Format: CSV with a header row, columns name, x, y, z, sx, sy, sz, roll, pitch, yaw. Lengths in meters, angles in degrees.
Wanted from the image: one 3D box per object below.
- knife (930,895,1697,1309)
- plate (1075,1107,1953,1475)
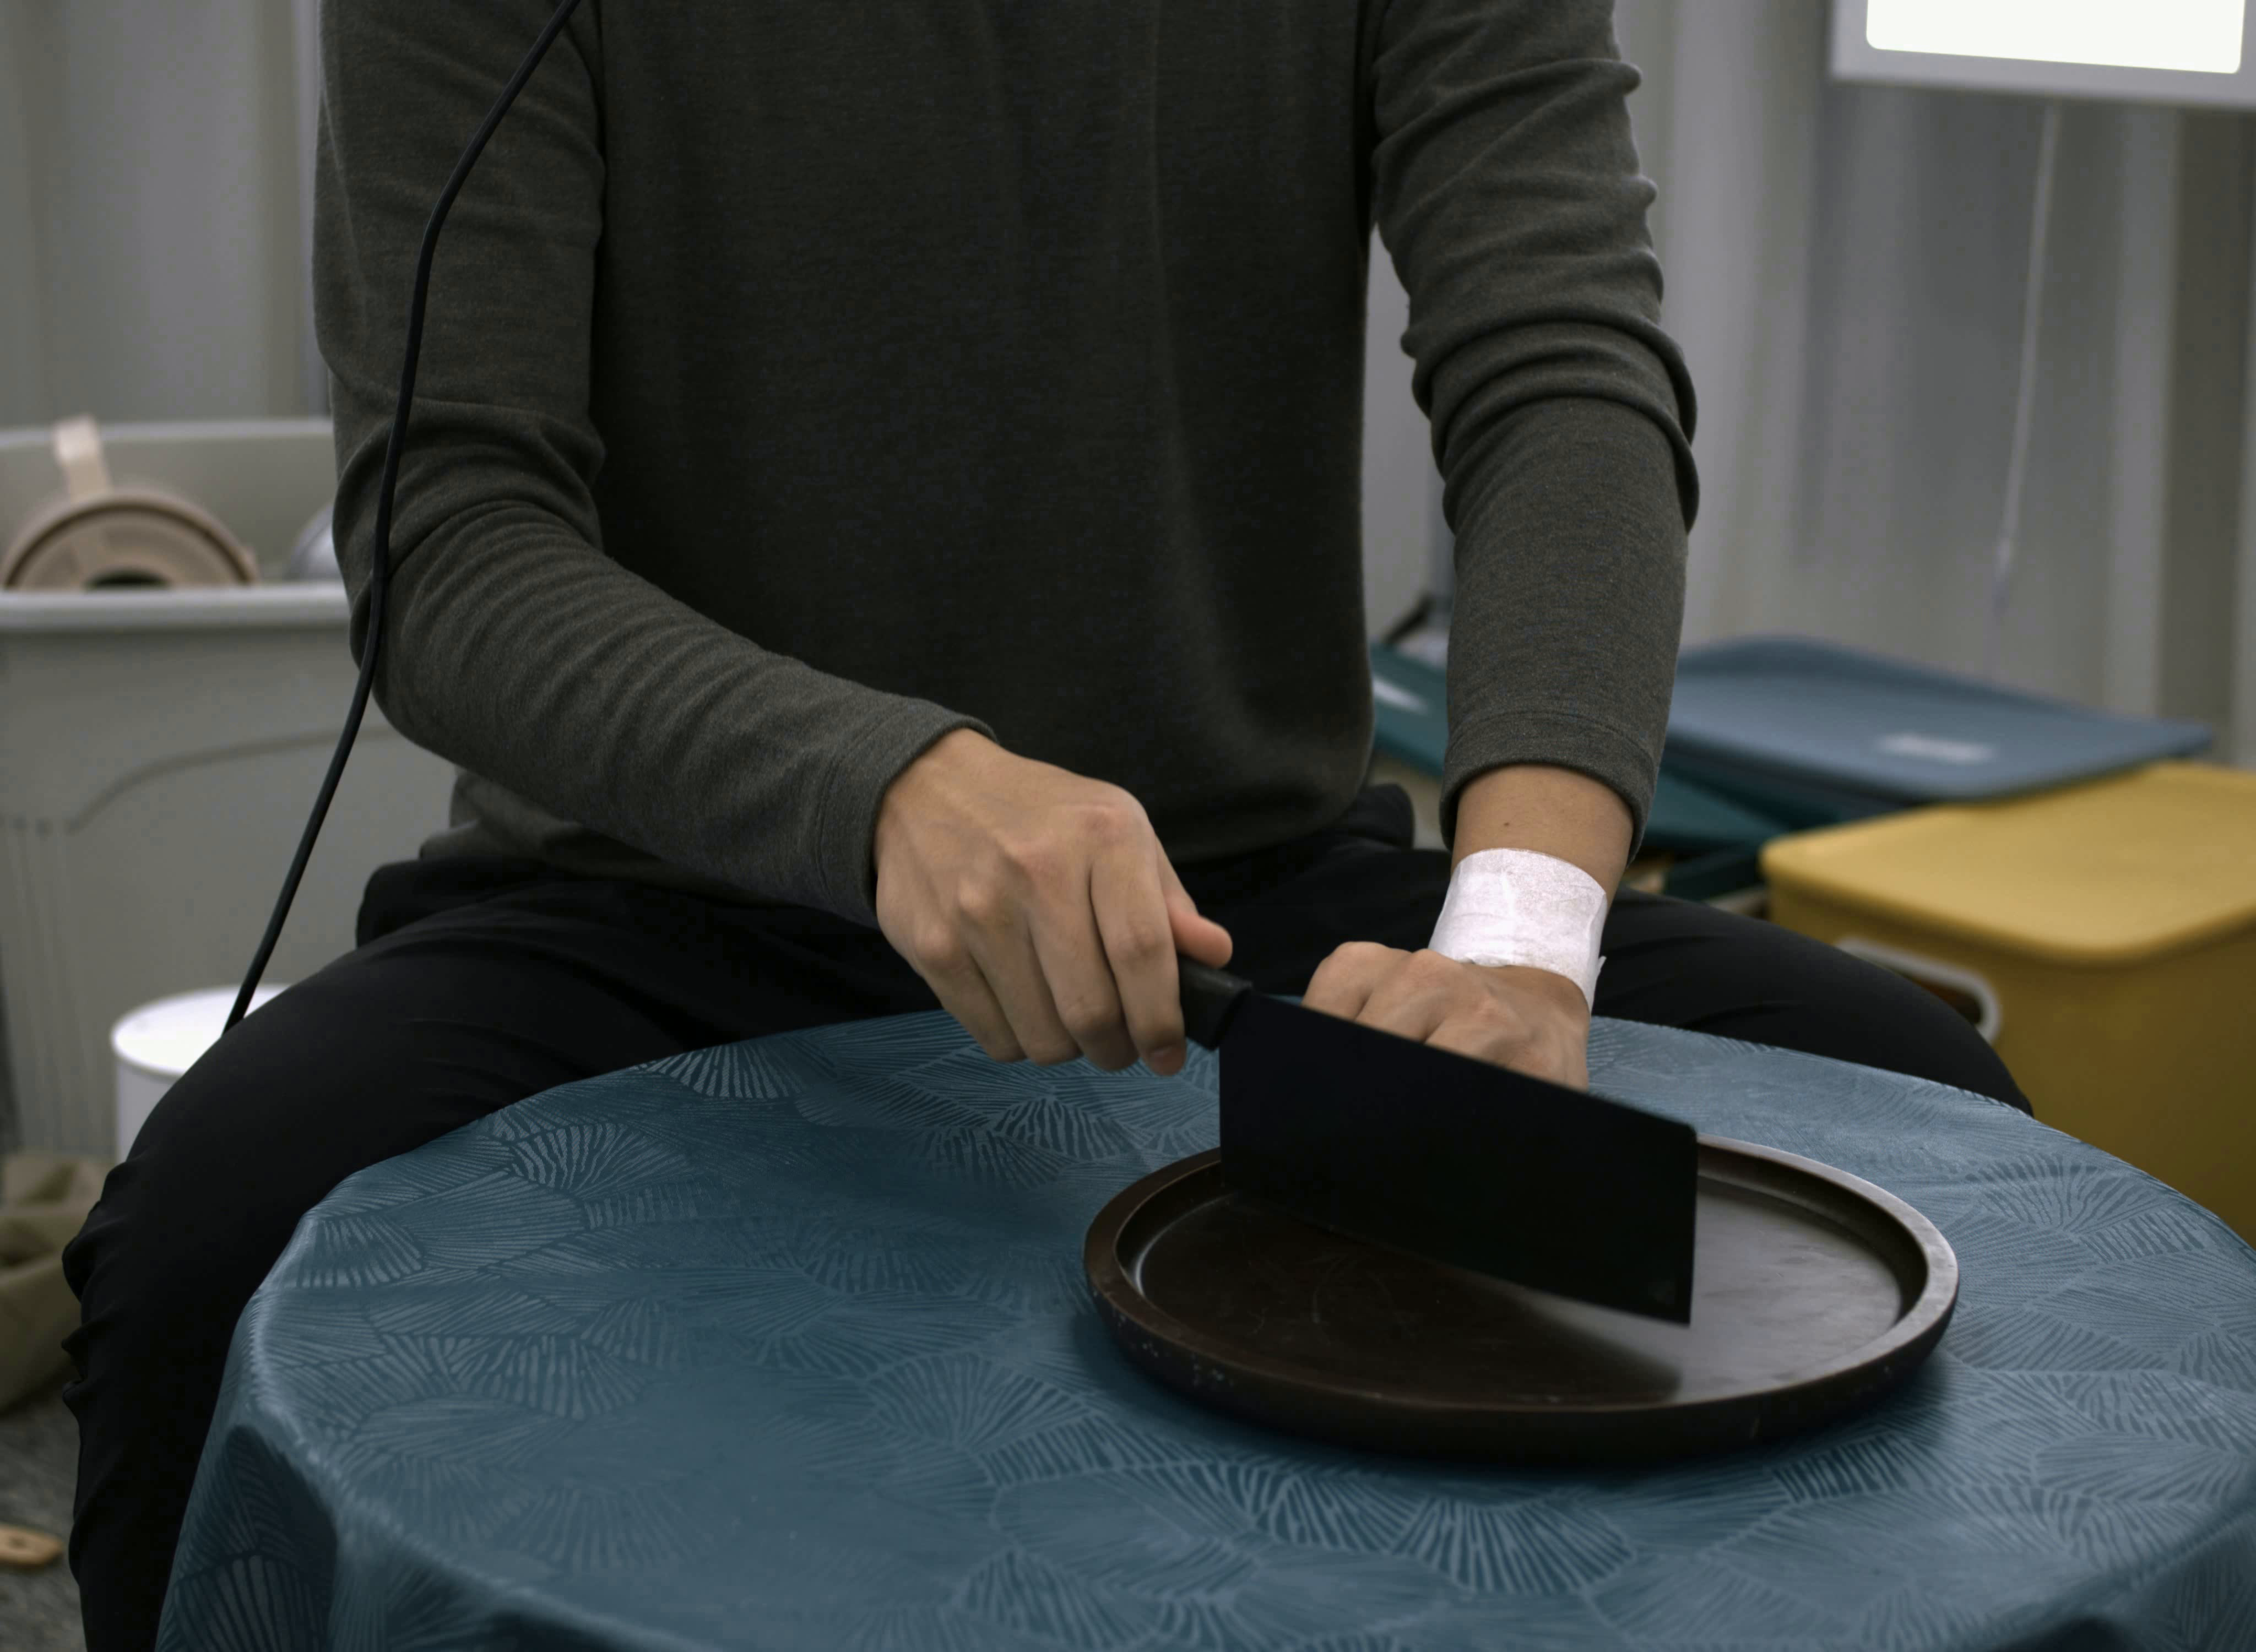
name,x,y,z,sx,sy,sz,roll,pitch,yaw
knife,0.050,0.075,1.547,0.298,0.081,0.021,21,26,40
plate,0.111,0.131,1.517,0.254,0.029,0.253,0,16,1
